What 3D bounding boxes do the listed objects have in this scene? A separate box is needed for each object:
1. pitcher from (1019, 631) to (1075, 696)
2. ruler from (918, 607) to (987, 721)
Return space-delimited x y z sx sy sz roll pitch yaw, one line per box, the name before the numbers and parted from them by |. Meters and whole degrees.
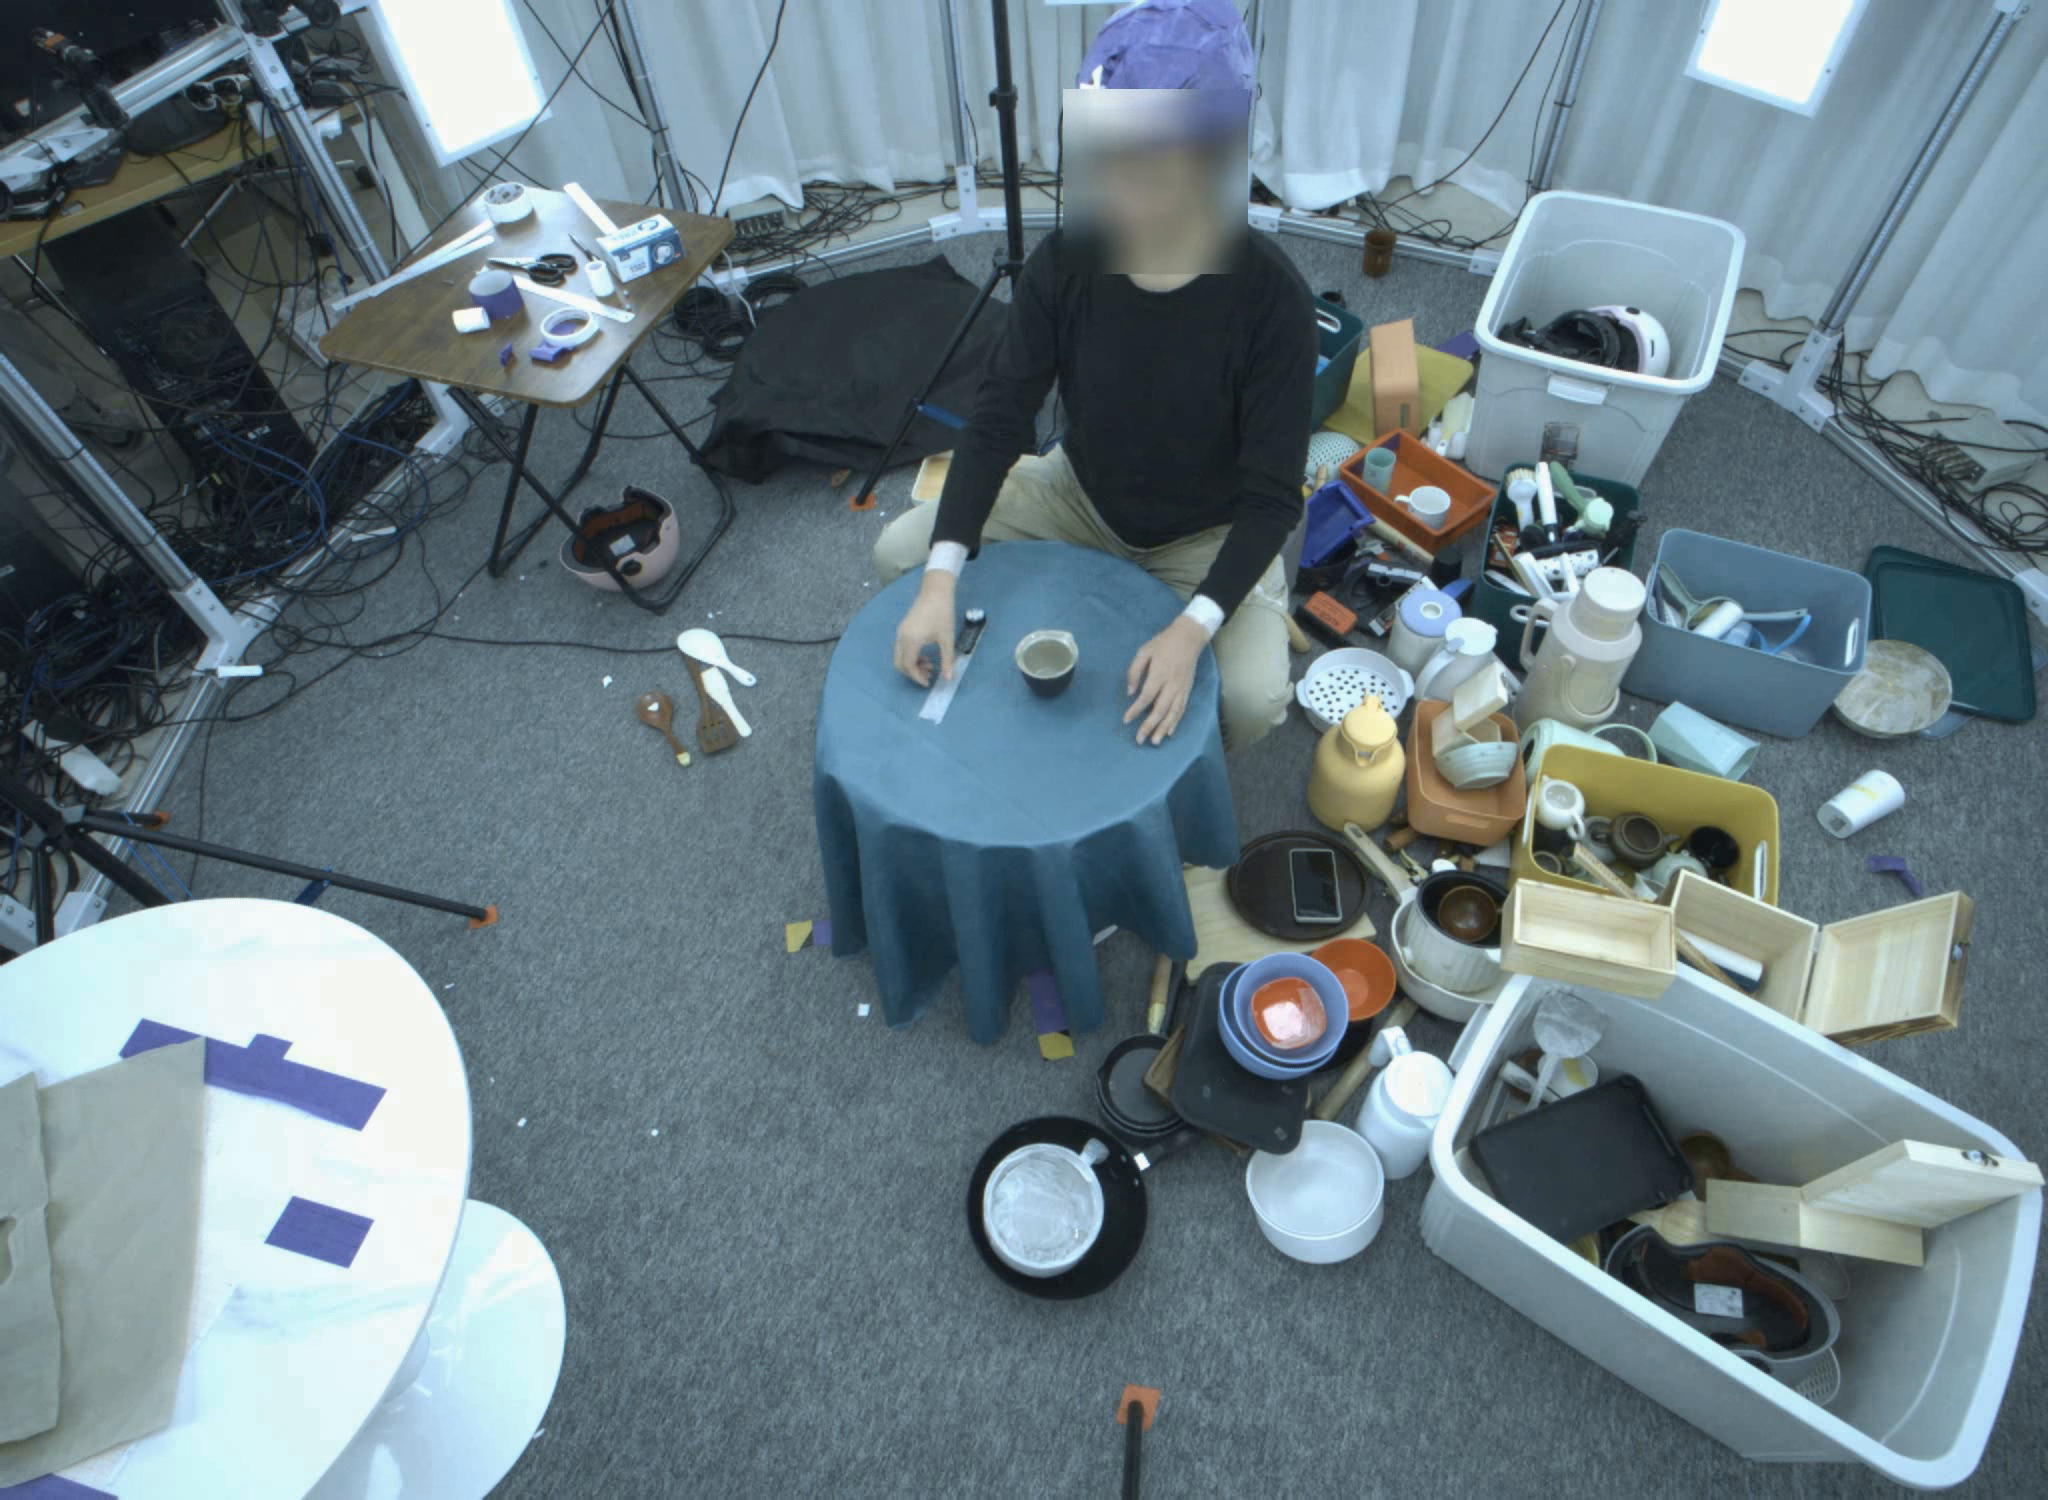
pitcher | 0.039 -0.125 1.830 0.082 0.072 0.096 33 63 25
ruler | -0.108 -0.135 1.872 0.038 0.024 0.218 11 55 17
